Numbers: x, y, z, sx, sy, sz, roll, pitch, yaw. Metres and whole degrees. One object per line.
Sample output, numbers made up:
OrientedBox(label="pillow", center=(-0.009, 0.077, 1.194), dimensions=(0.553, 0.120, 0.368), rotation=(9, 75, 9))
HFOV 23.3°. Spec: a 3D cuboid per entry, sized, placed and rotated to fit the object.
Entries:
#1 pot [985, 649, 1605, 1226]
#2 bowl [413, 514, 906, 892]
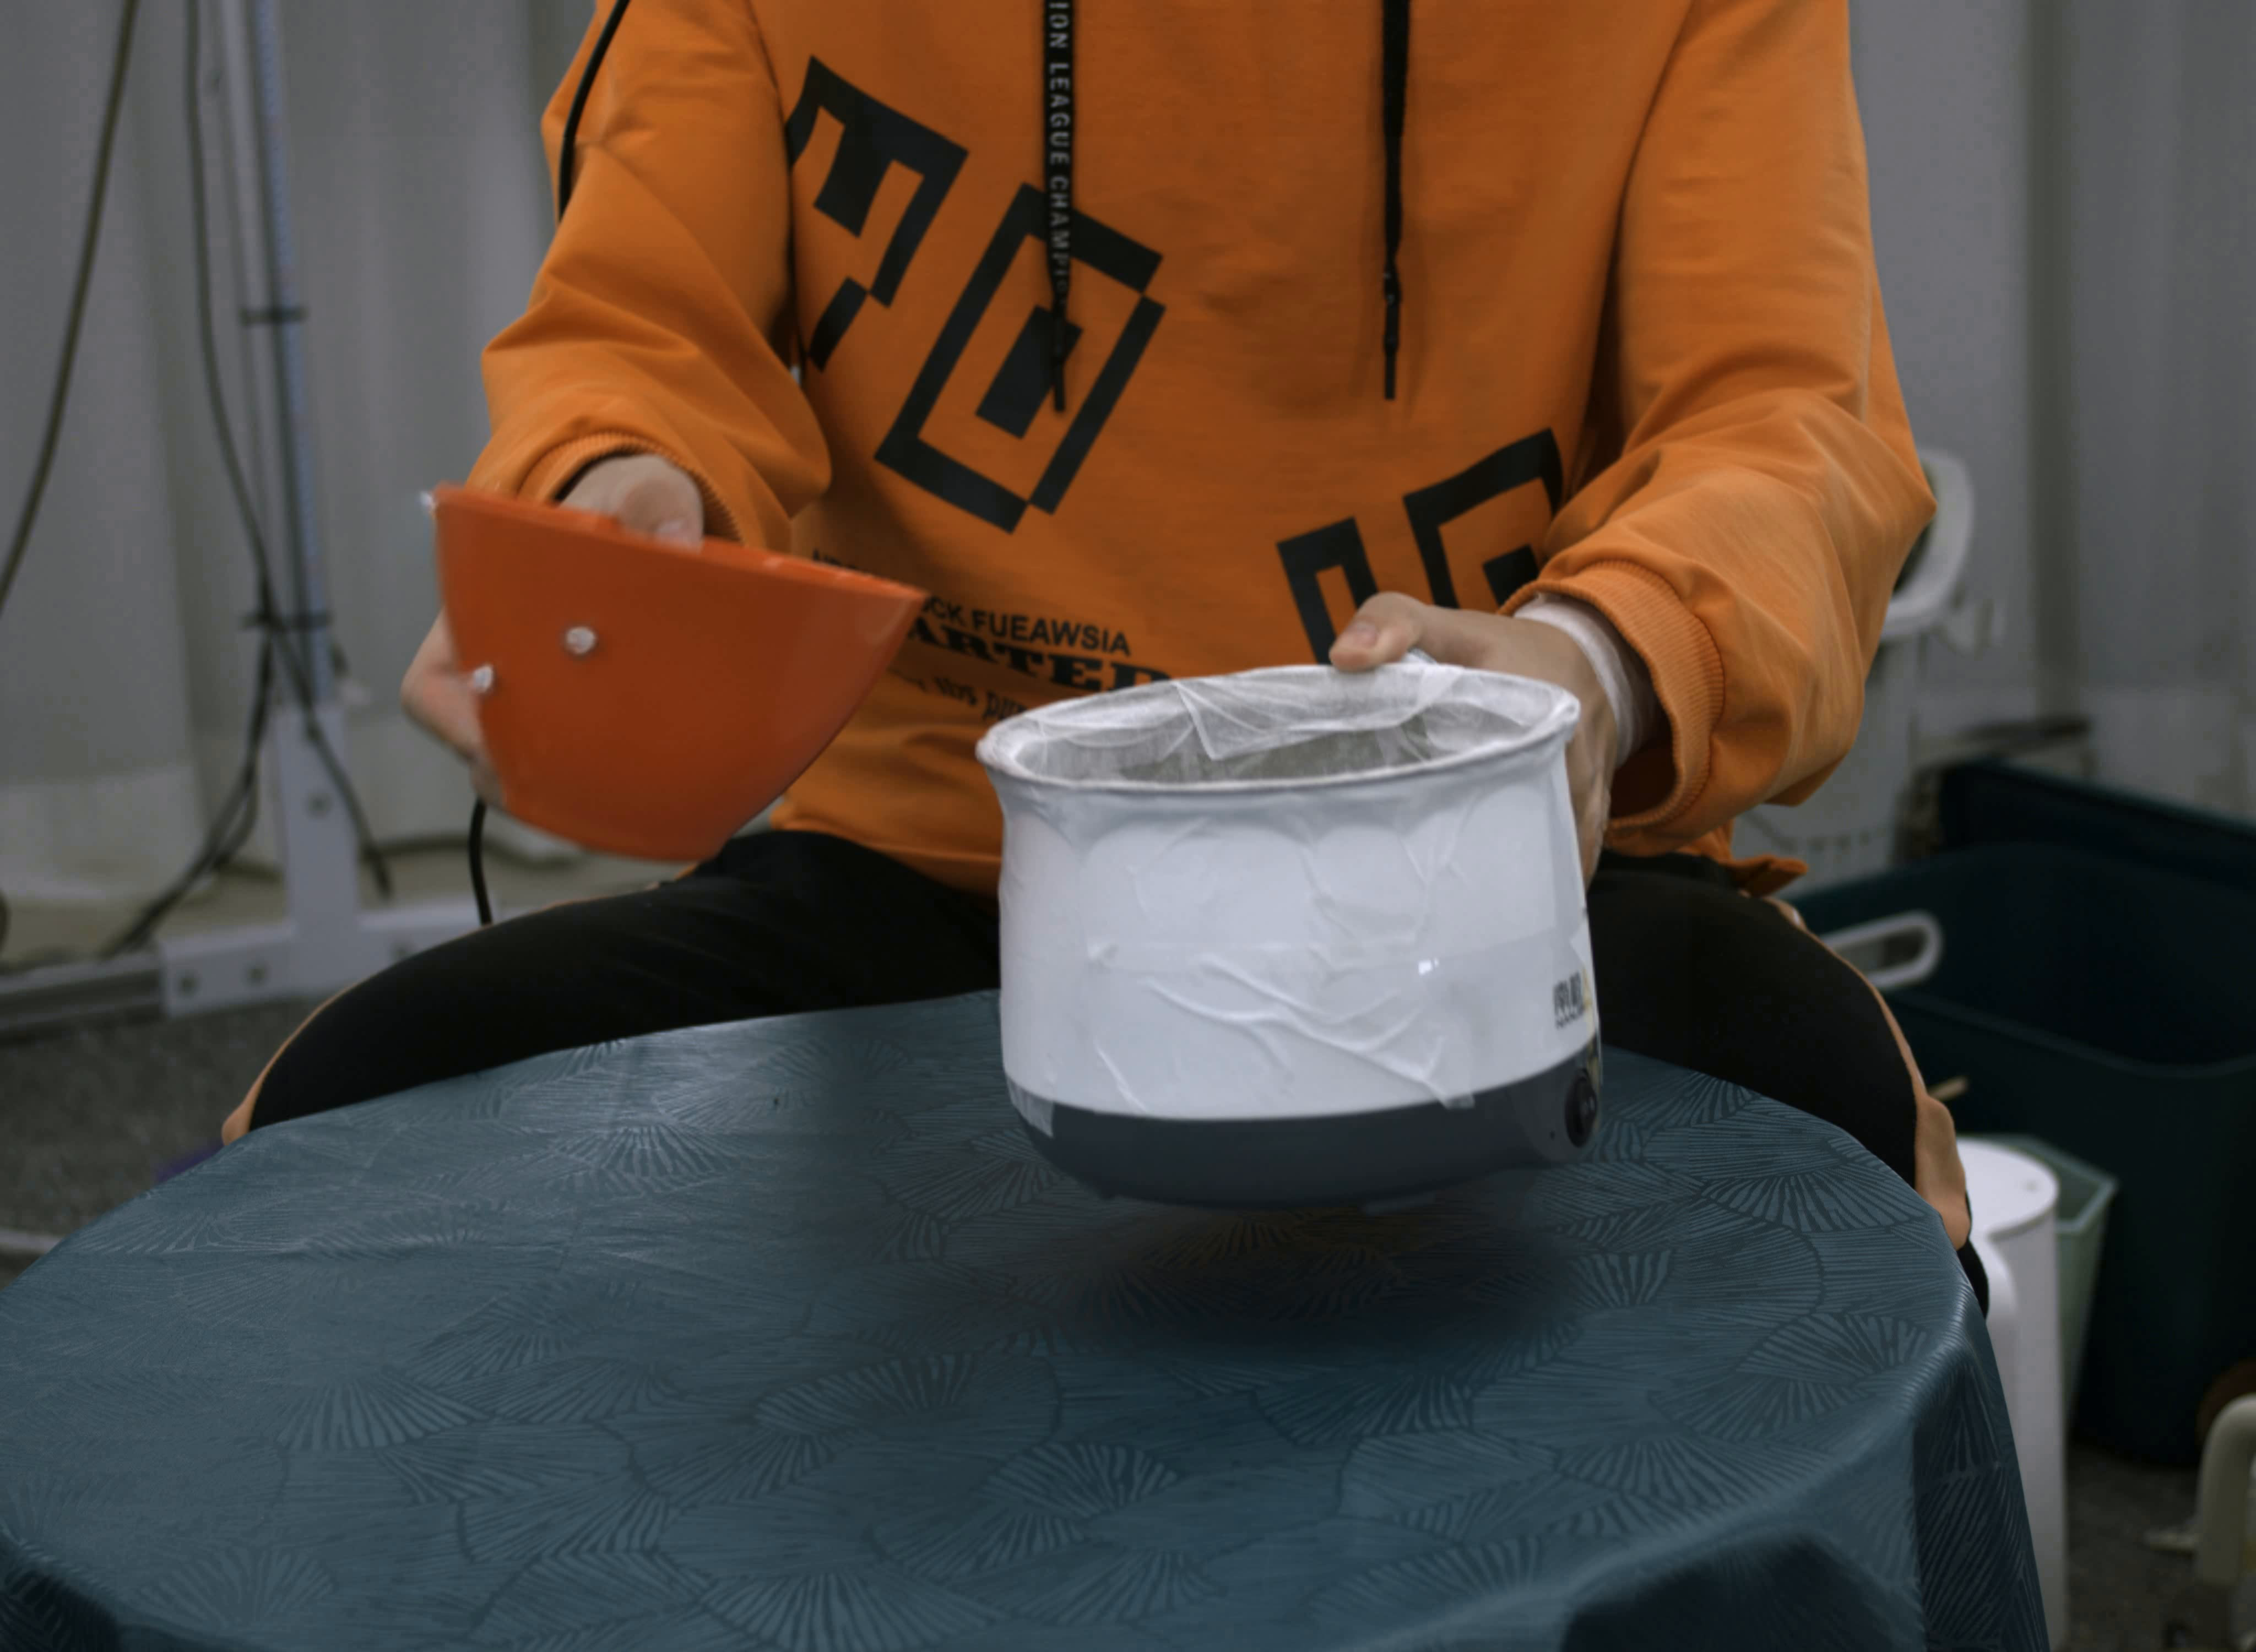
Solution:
OrientedBox(label="pot", center=(0.061, 0.028, 1.636), dimensions=(0.179, 0.136, 0.234), rotation=(1, 13, 23))
OrientedBox(label="bowl", center=(-0.146, -0.037, 1.611), dimensions=(0.147, 0.104, 0.149), rotation=(13, 11, -3))
